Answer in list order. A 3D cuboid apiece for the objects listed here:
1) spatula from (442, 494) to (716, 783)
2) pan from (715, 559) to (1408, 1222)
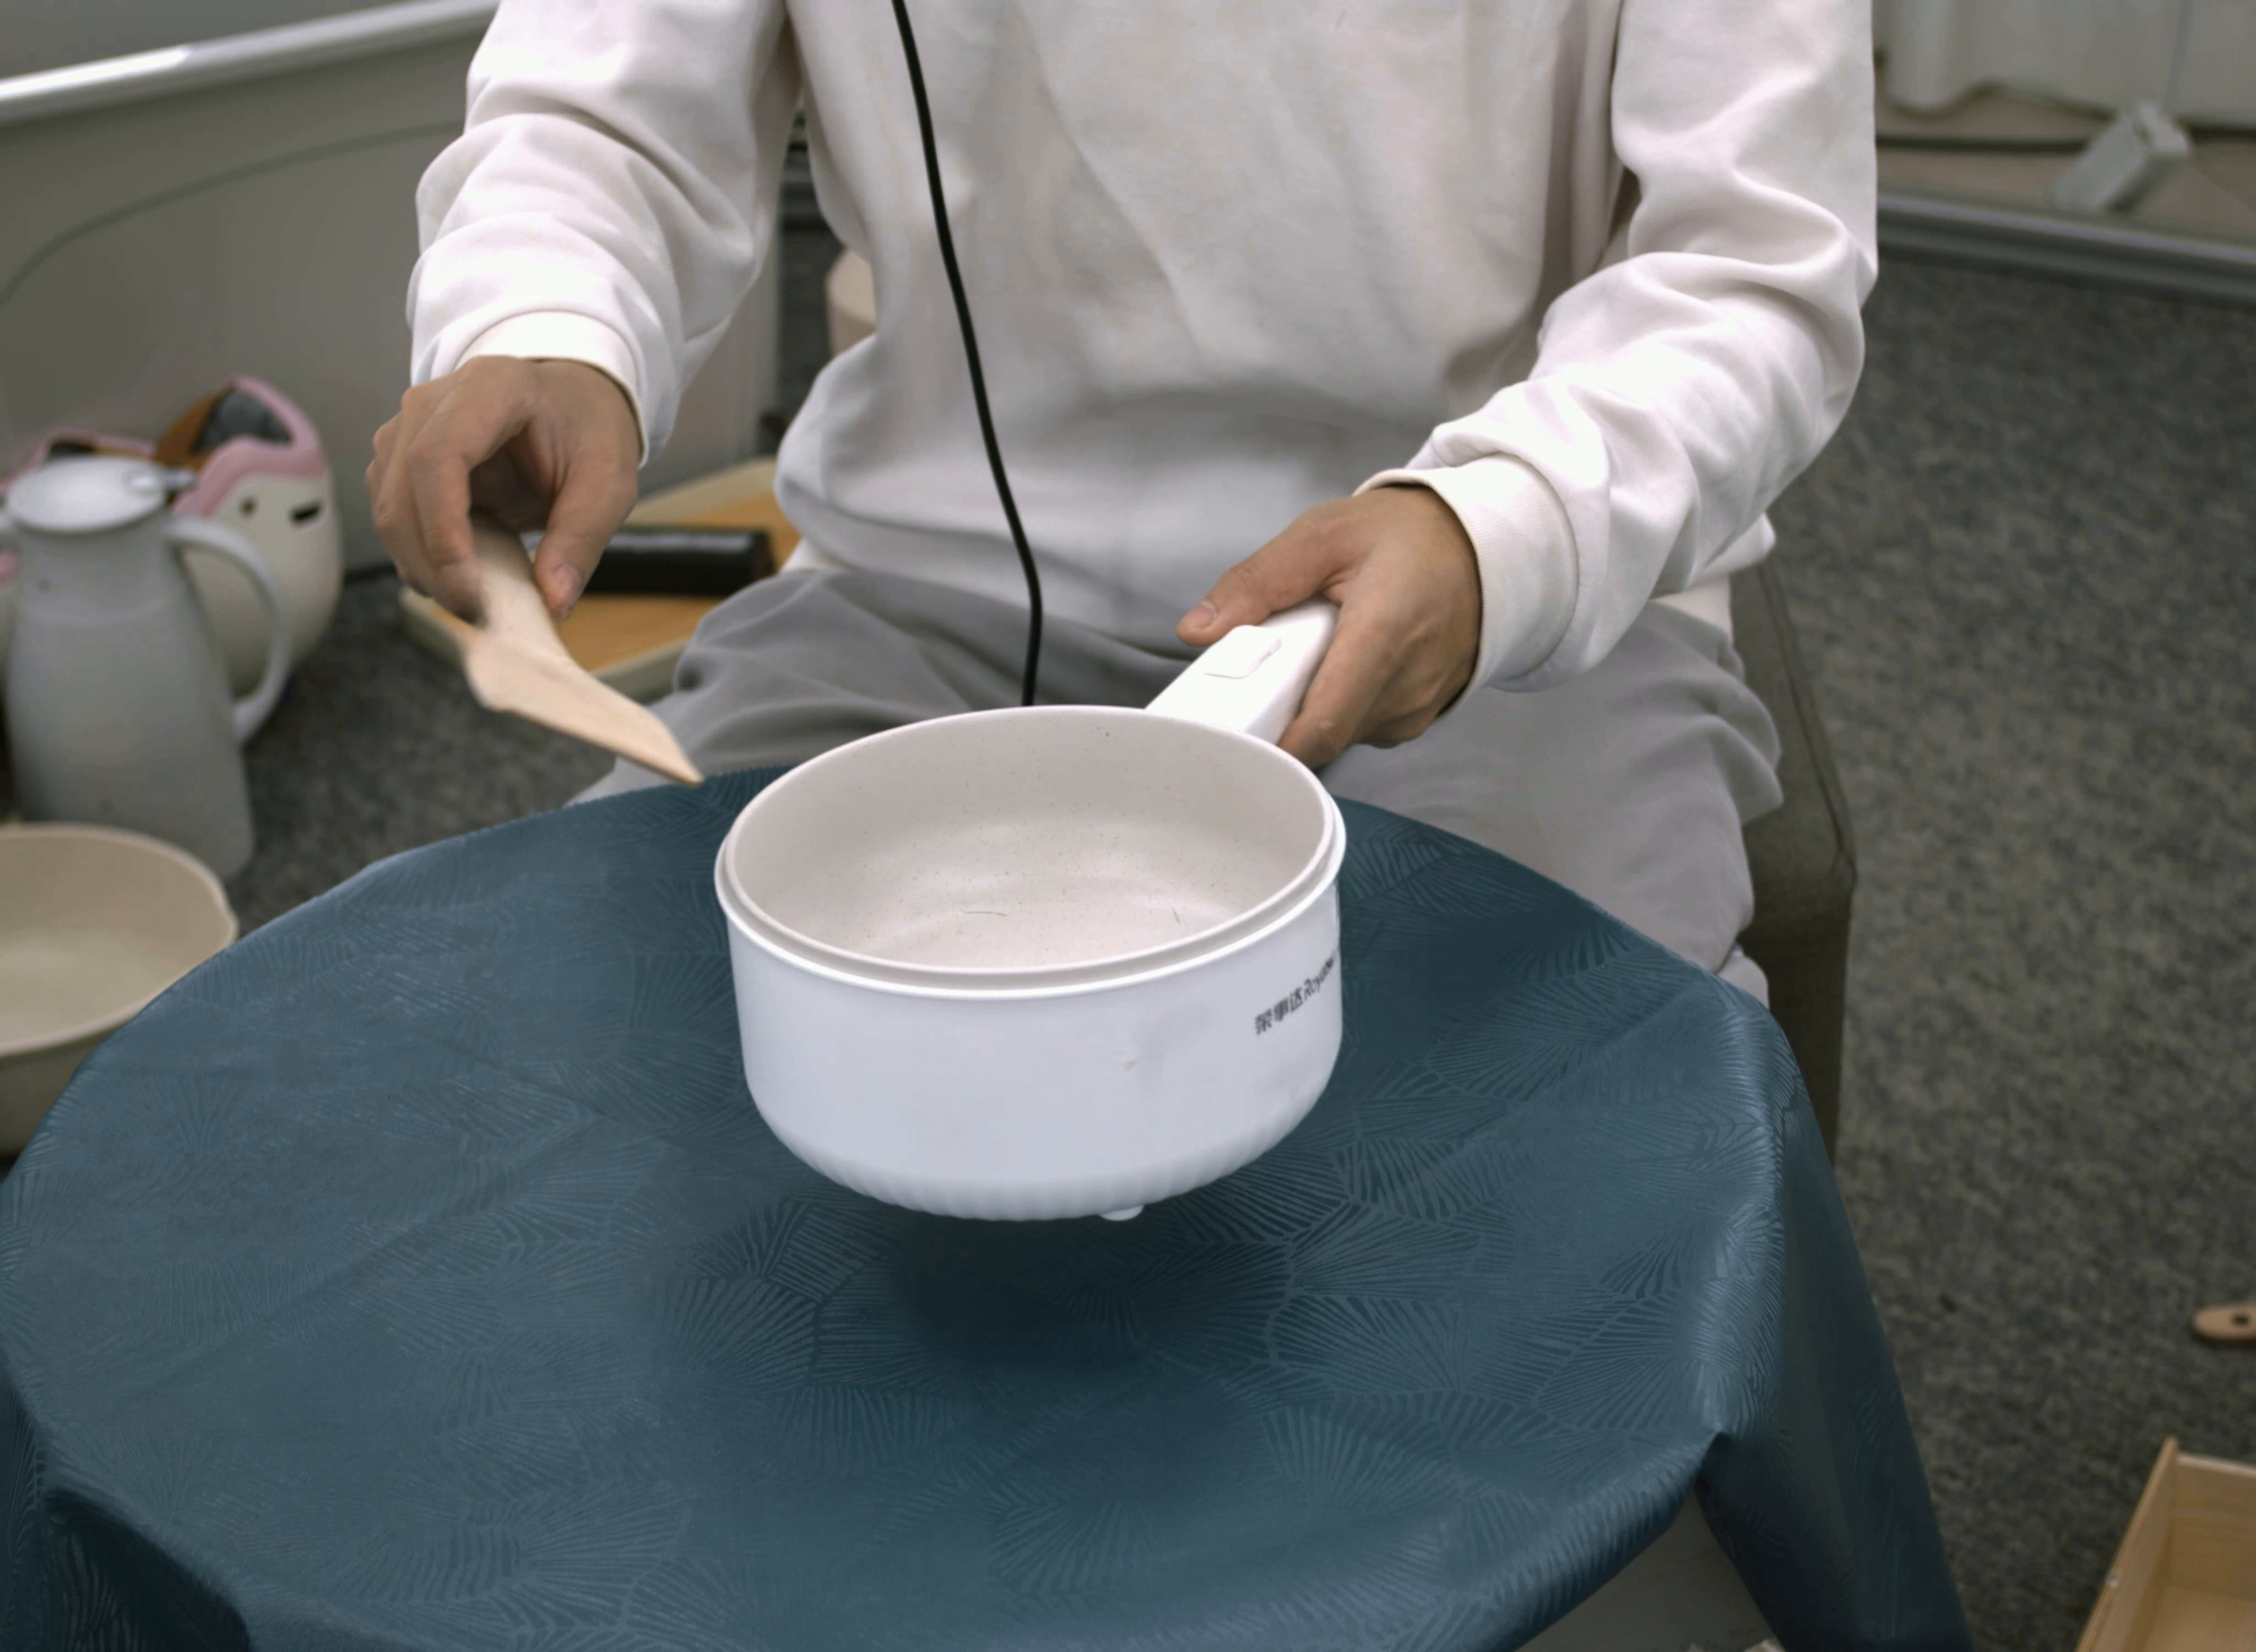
[{"bbox_3d":[-0.195,-0.068,1.859,0.072,0.010,0.295,22,11,-21],"label":"spatula"},{"bbox_3d":[0.005,0.018,1.869,0.200,0.101,0.360,7,26,25],"label":"pan"}]
